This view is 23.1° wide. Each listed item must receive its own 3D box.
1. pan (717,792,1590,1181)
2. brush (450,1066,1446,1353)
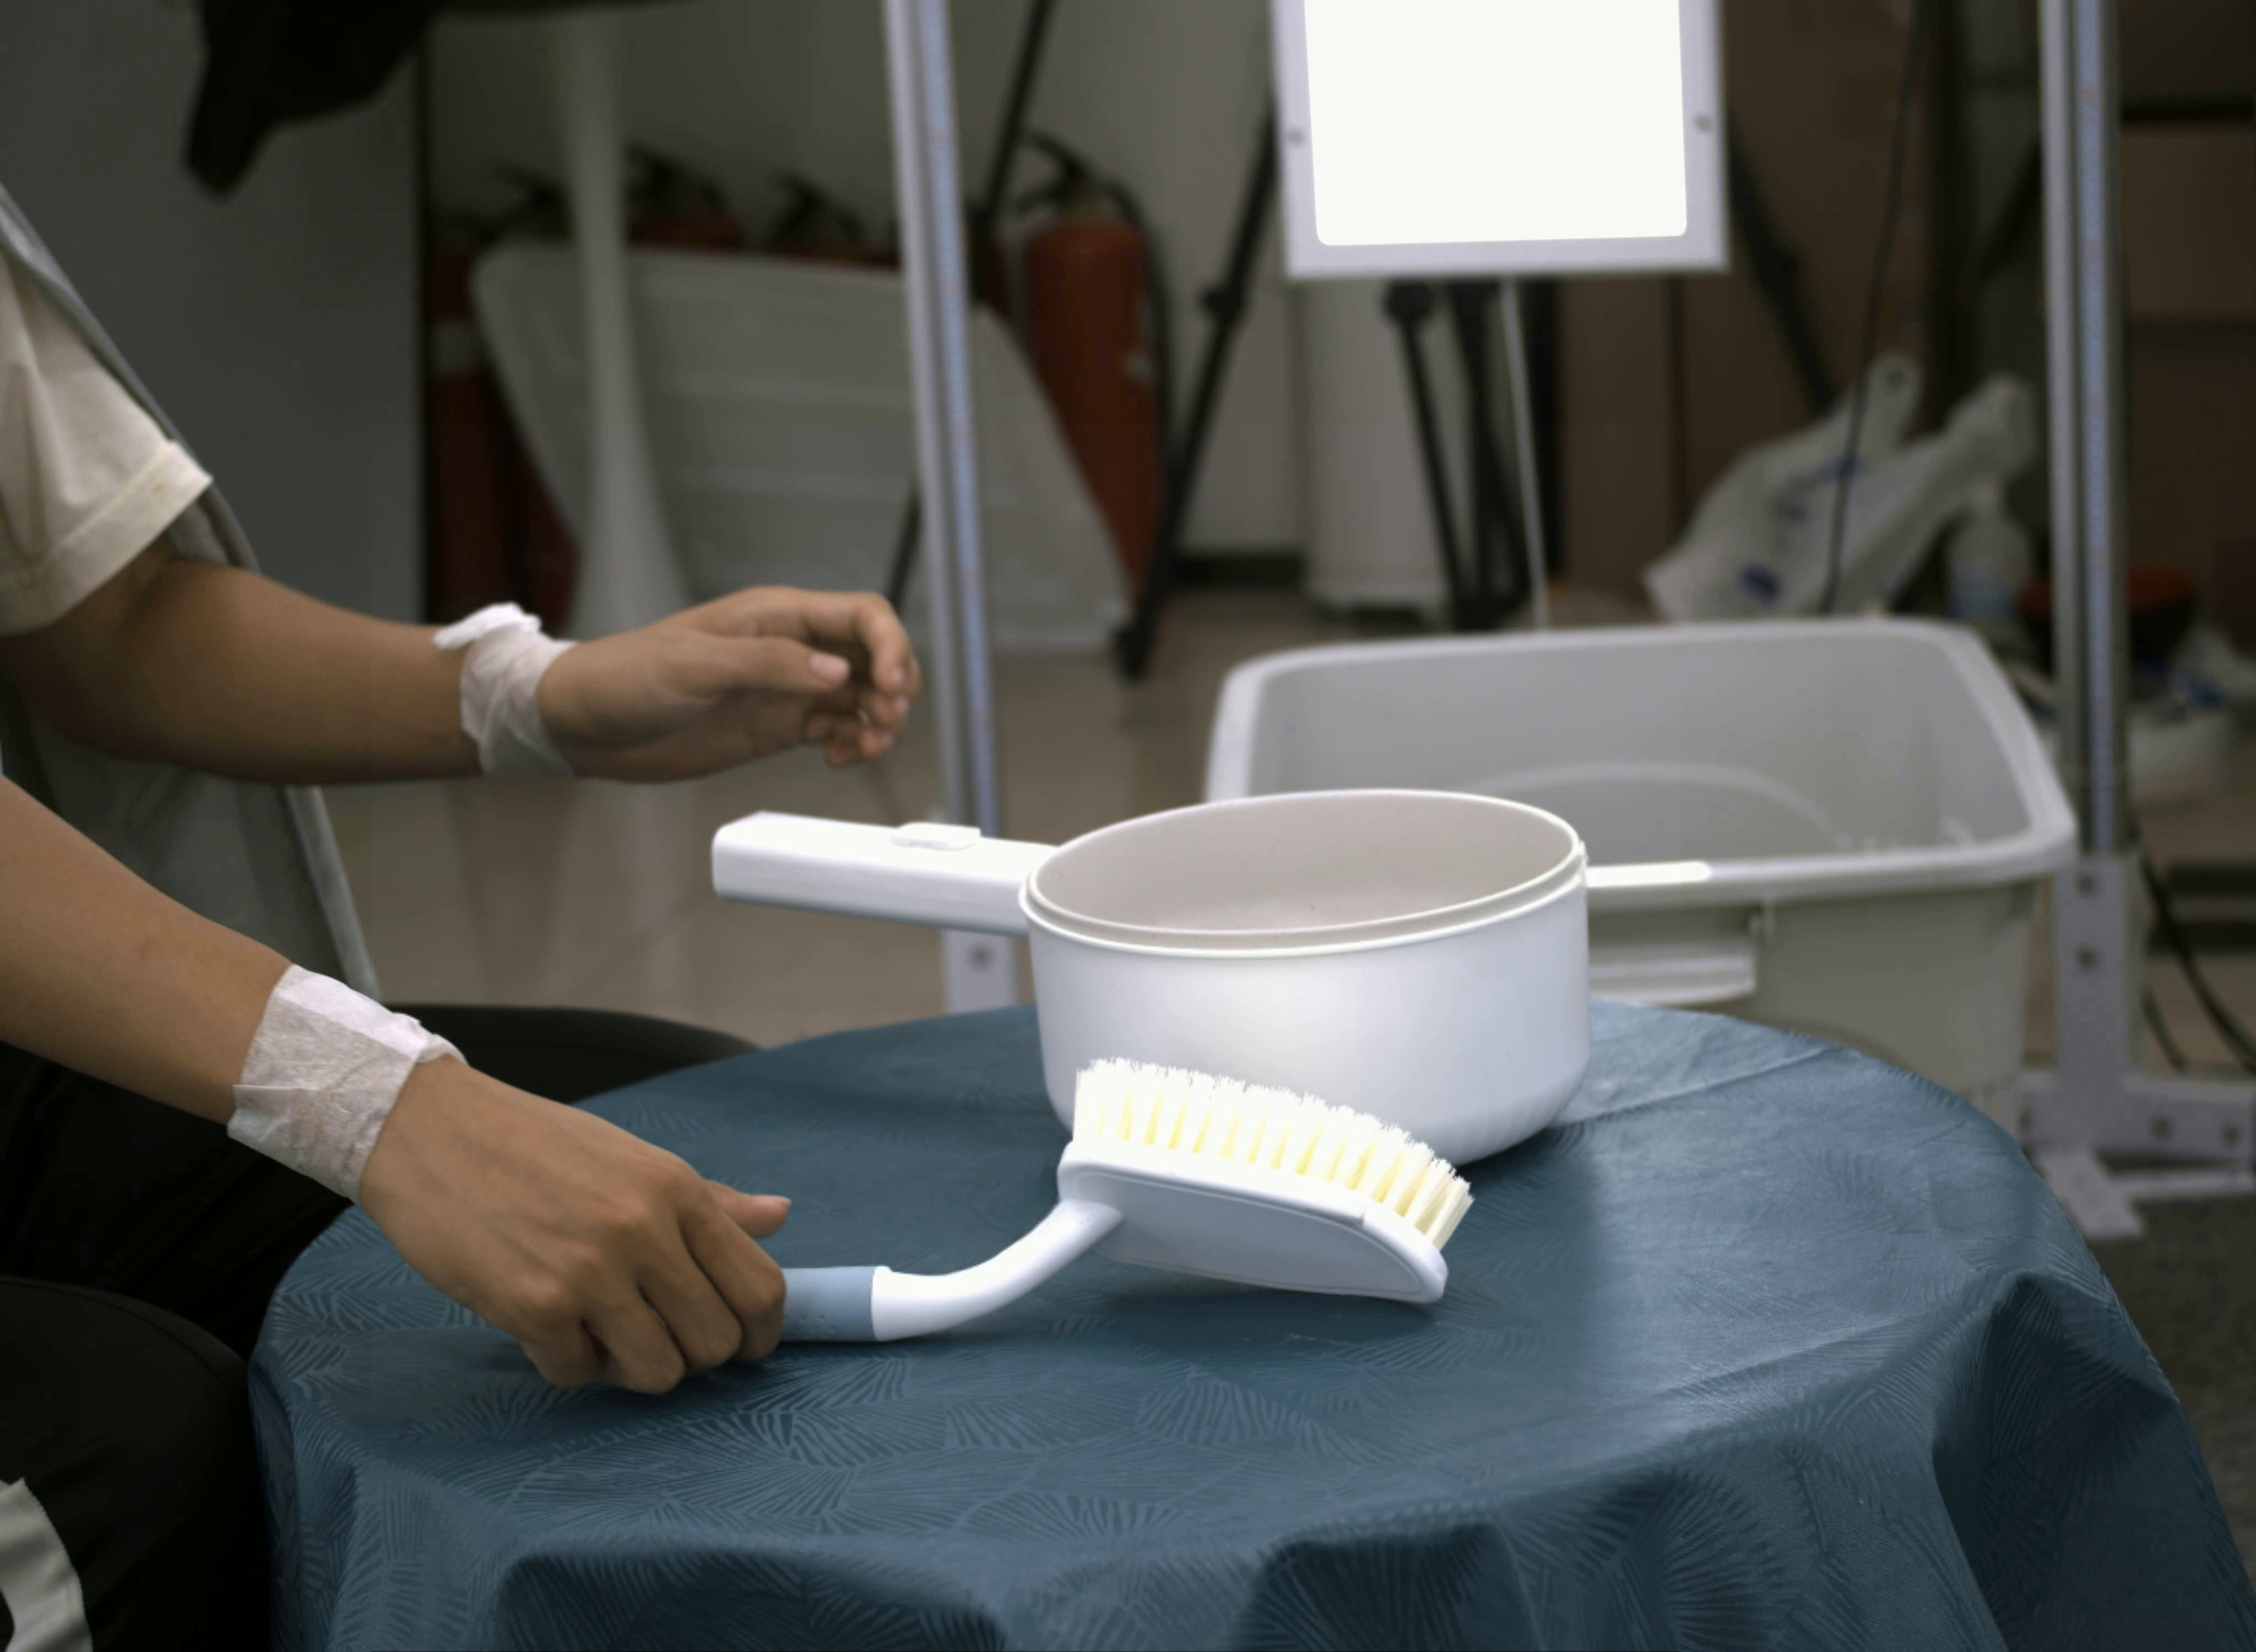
[{"bbox_3d":[0.002,0.055,1.979,0.362,0.102,0.196,4,17,36],"label":"pan"},{"bbox_3d":[-0.059,0.118,1.780,0.327,0.083,0.083,-2,18,11],"label":"brush"}]
